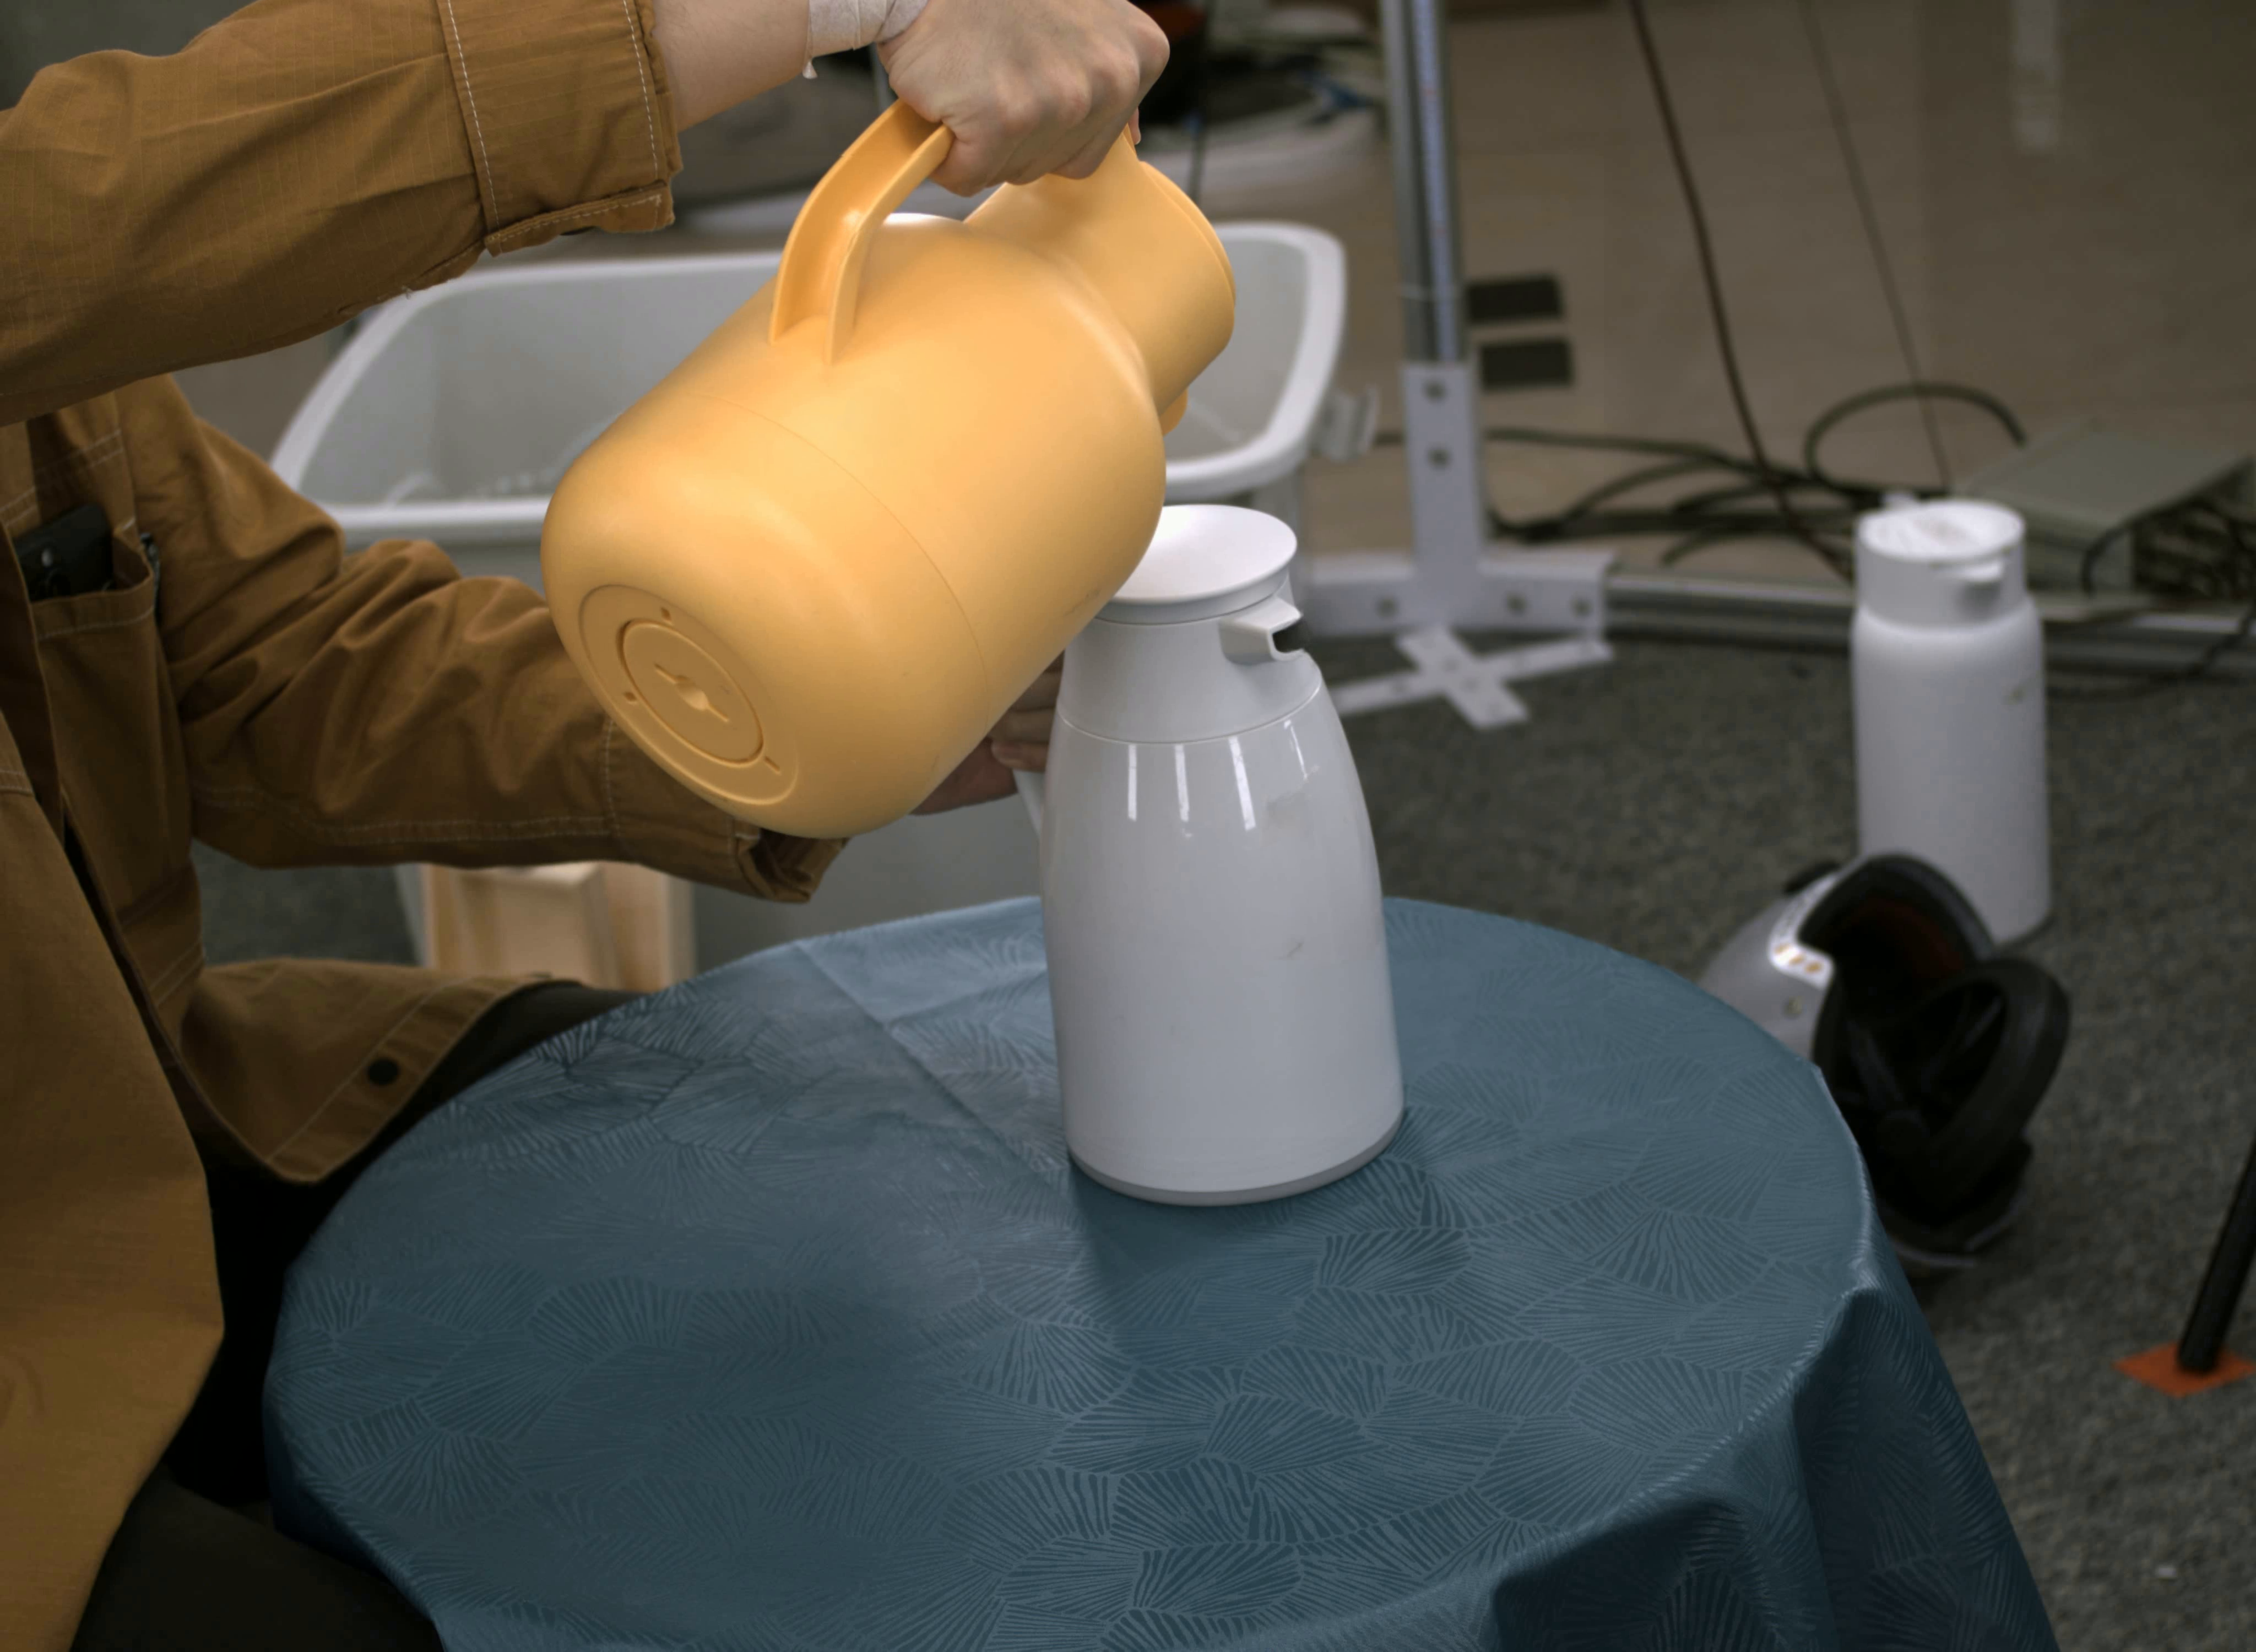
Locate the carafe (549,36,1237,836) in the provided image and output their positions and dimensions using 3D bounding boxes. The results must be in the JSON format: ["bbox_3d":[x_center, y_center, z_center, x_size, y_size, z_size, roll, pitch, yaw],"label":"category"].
[{"bbox_3d":[-0.073,-0.142,1.923,0.162,0.206,0.257,19,53,32],"label":"carafe"}]

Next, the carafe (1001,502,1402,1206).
[{"bbox_3d":[0.015,-0.001,2.147,0.131,0.252,0.166,-26,31,-35],"label":"carafe"}]
